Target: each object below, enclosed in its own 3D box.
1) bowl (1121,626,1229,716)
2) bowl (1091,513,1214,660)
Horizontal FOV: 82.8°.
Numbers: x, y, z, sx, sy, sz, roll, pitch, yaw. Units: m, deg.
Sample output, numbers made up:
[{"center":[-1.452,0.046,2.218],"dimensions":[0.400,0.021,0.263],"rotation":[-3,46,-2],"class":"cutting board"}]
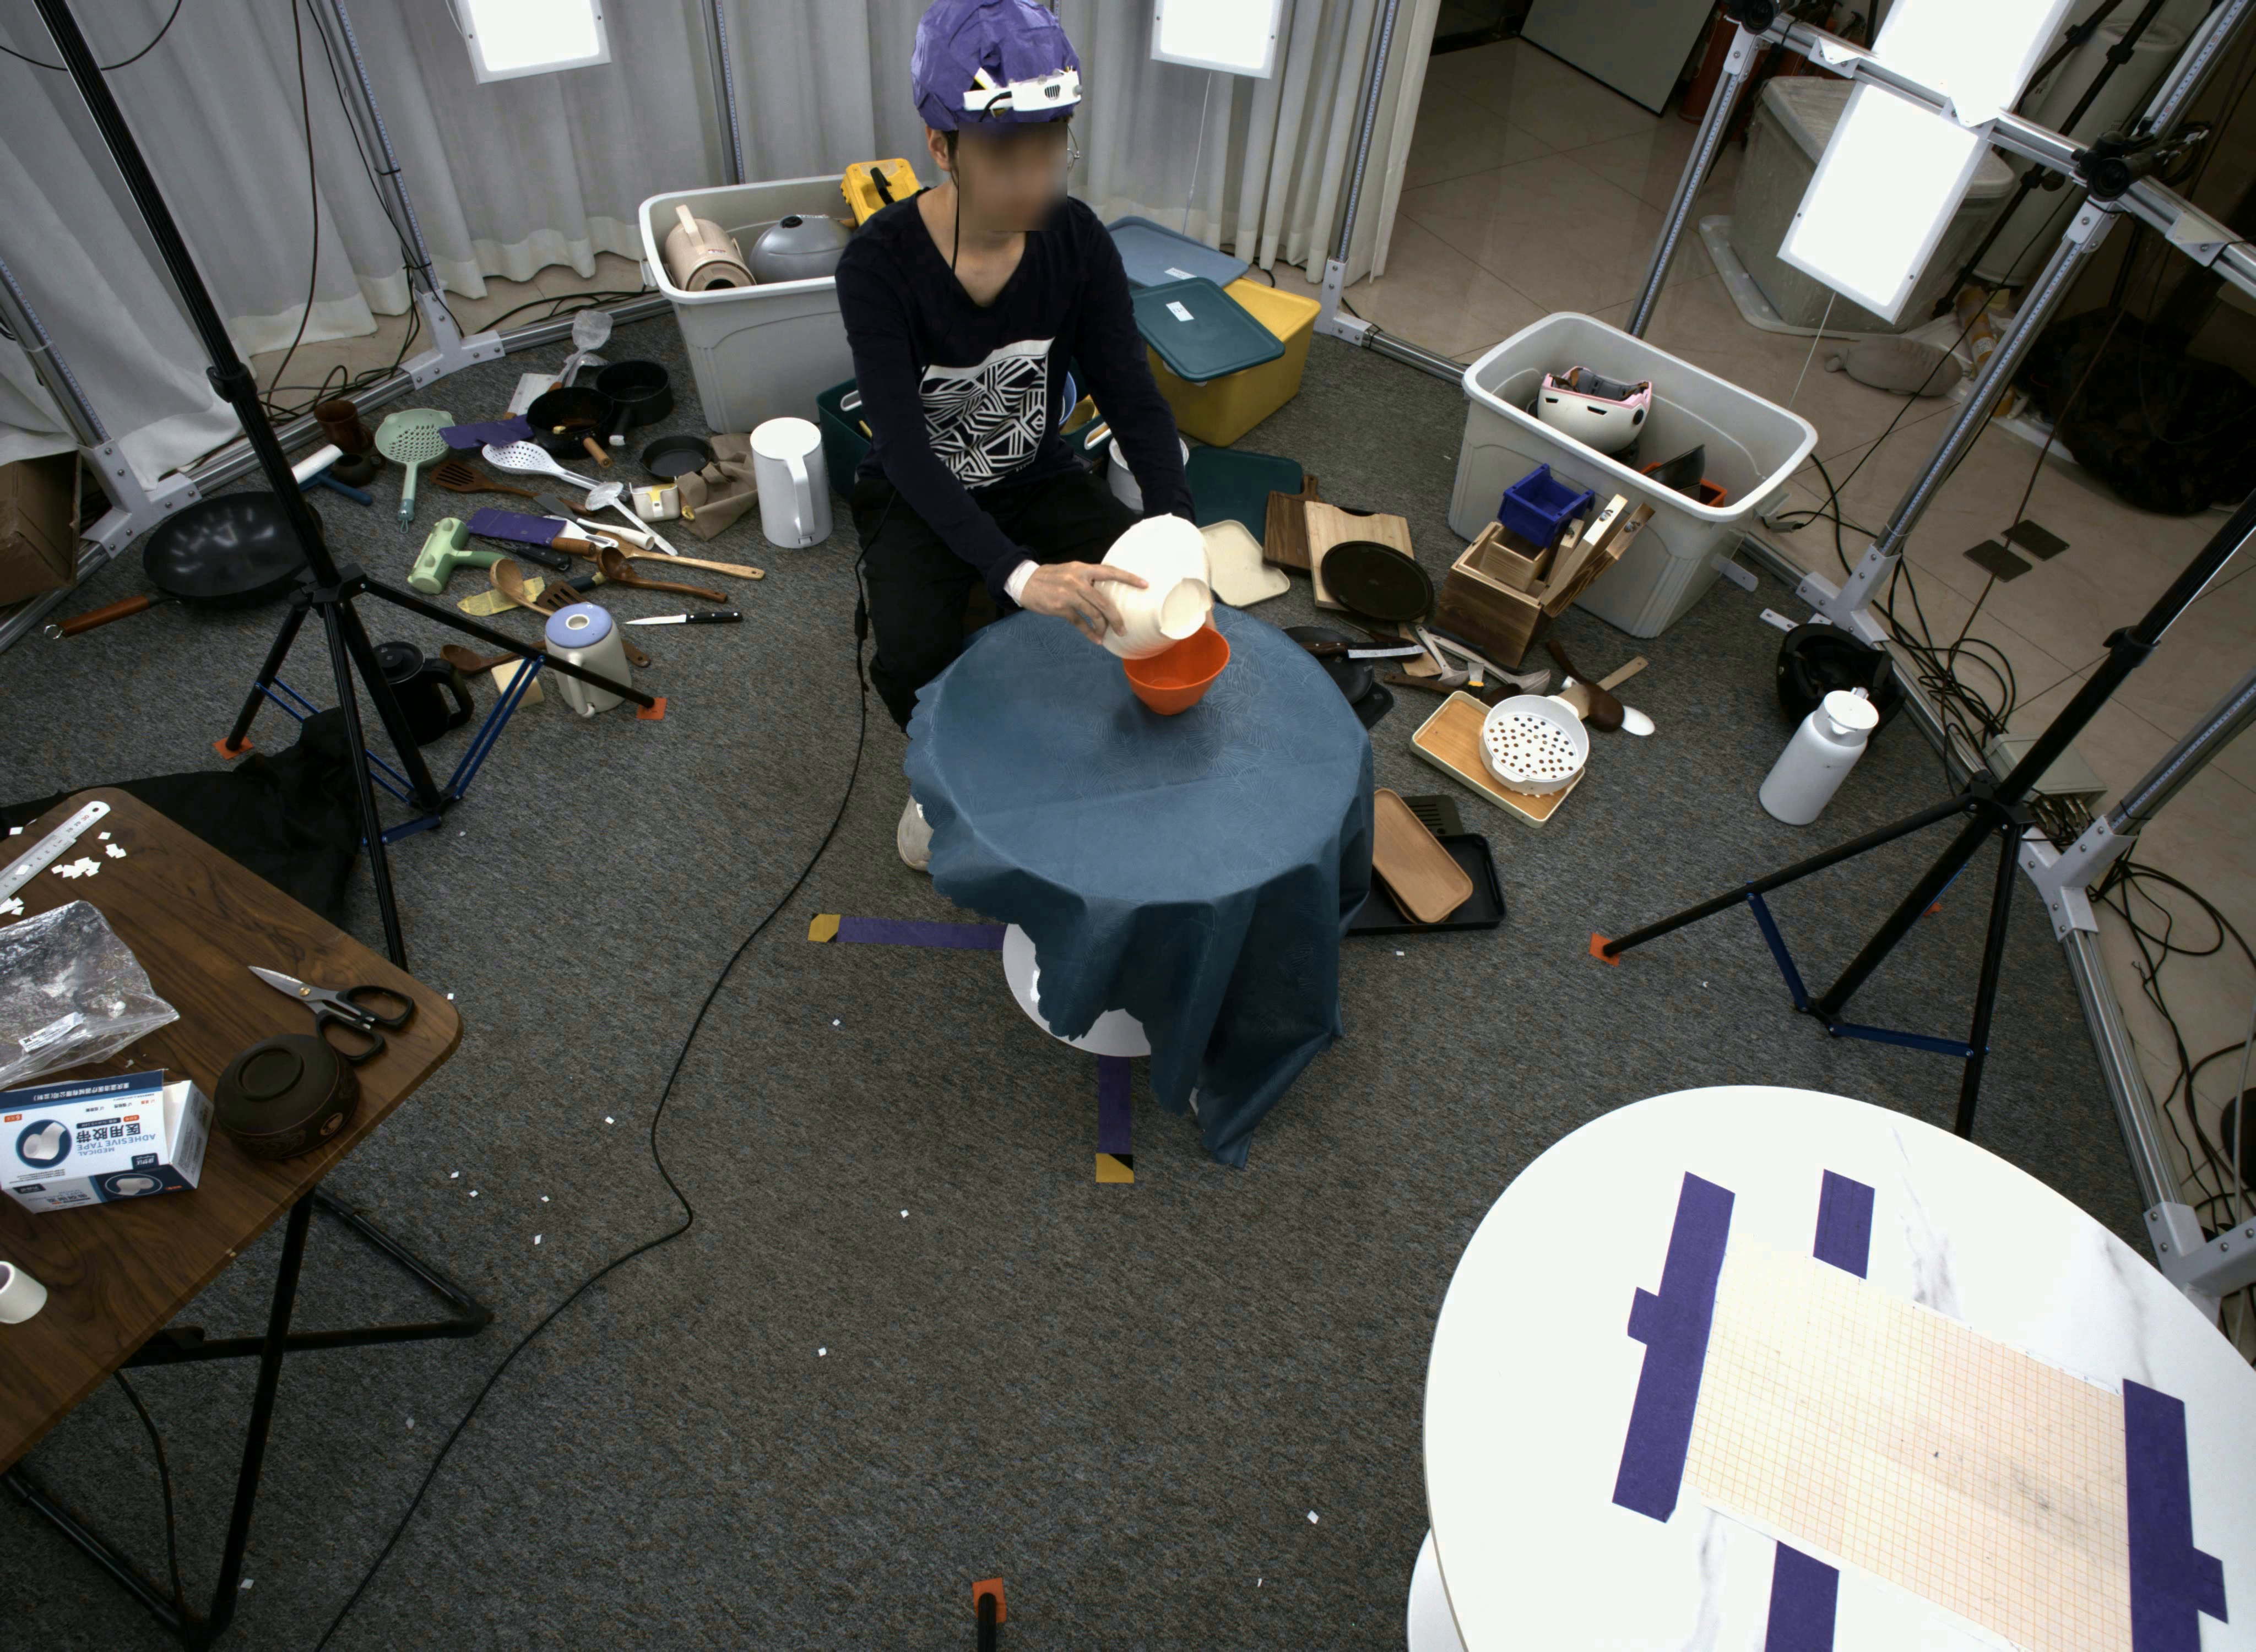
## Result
[{"center":[0.064,-0.207,1.785],"dimensions":[0.148,0.102,0.152],"rotation":[-1,48,1],"class":"bowl"},{"center":[0.055,-0.303,1.701],"dimensions":[0.205,0.199,0.079],"rotation":[-27,40,-25],"class":"bowl"}]
